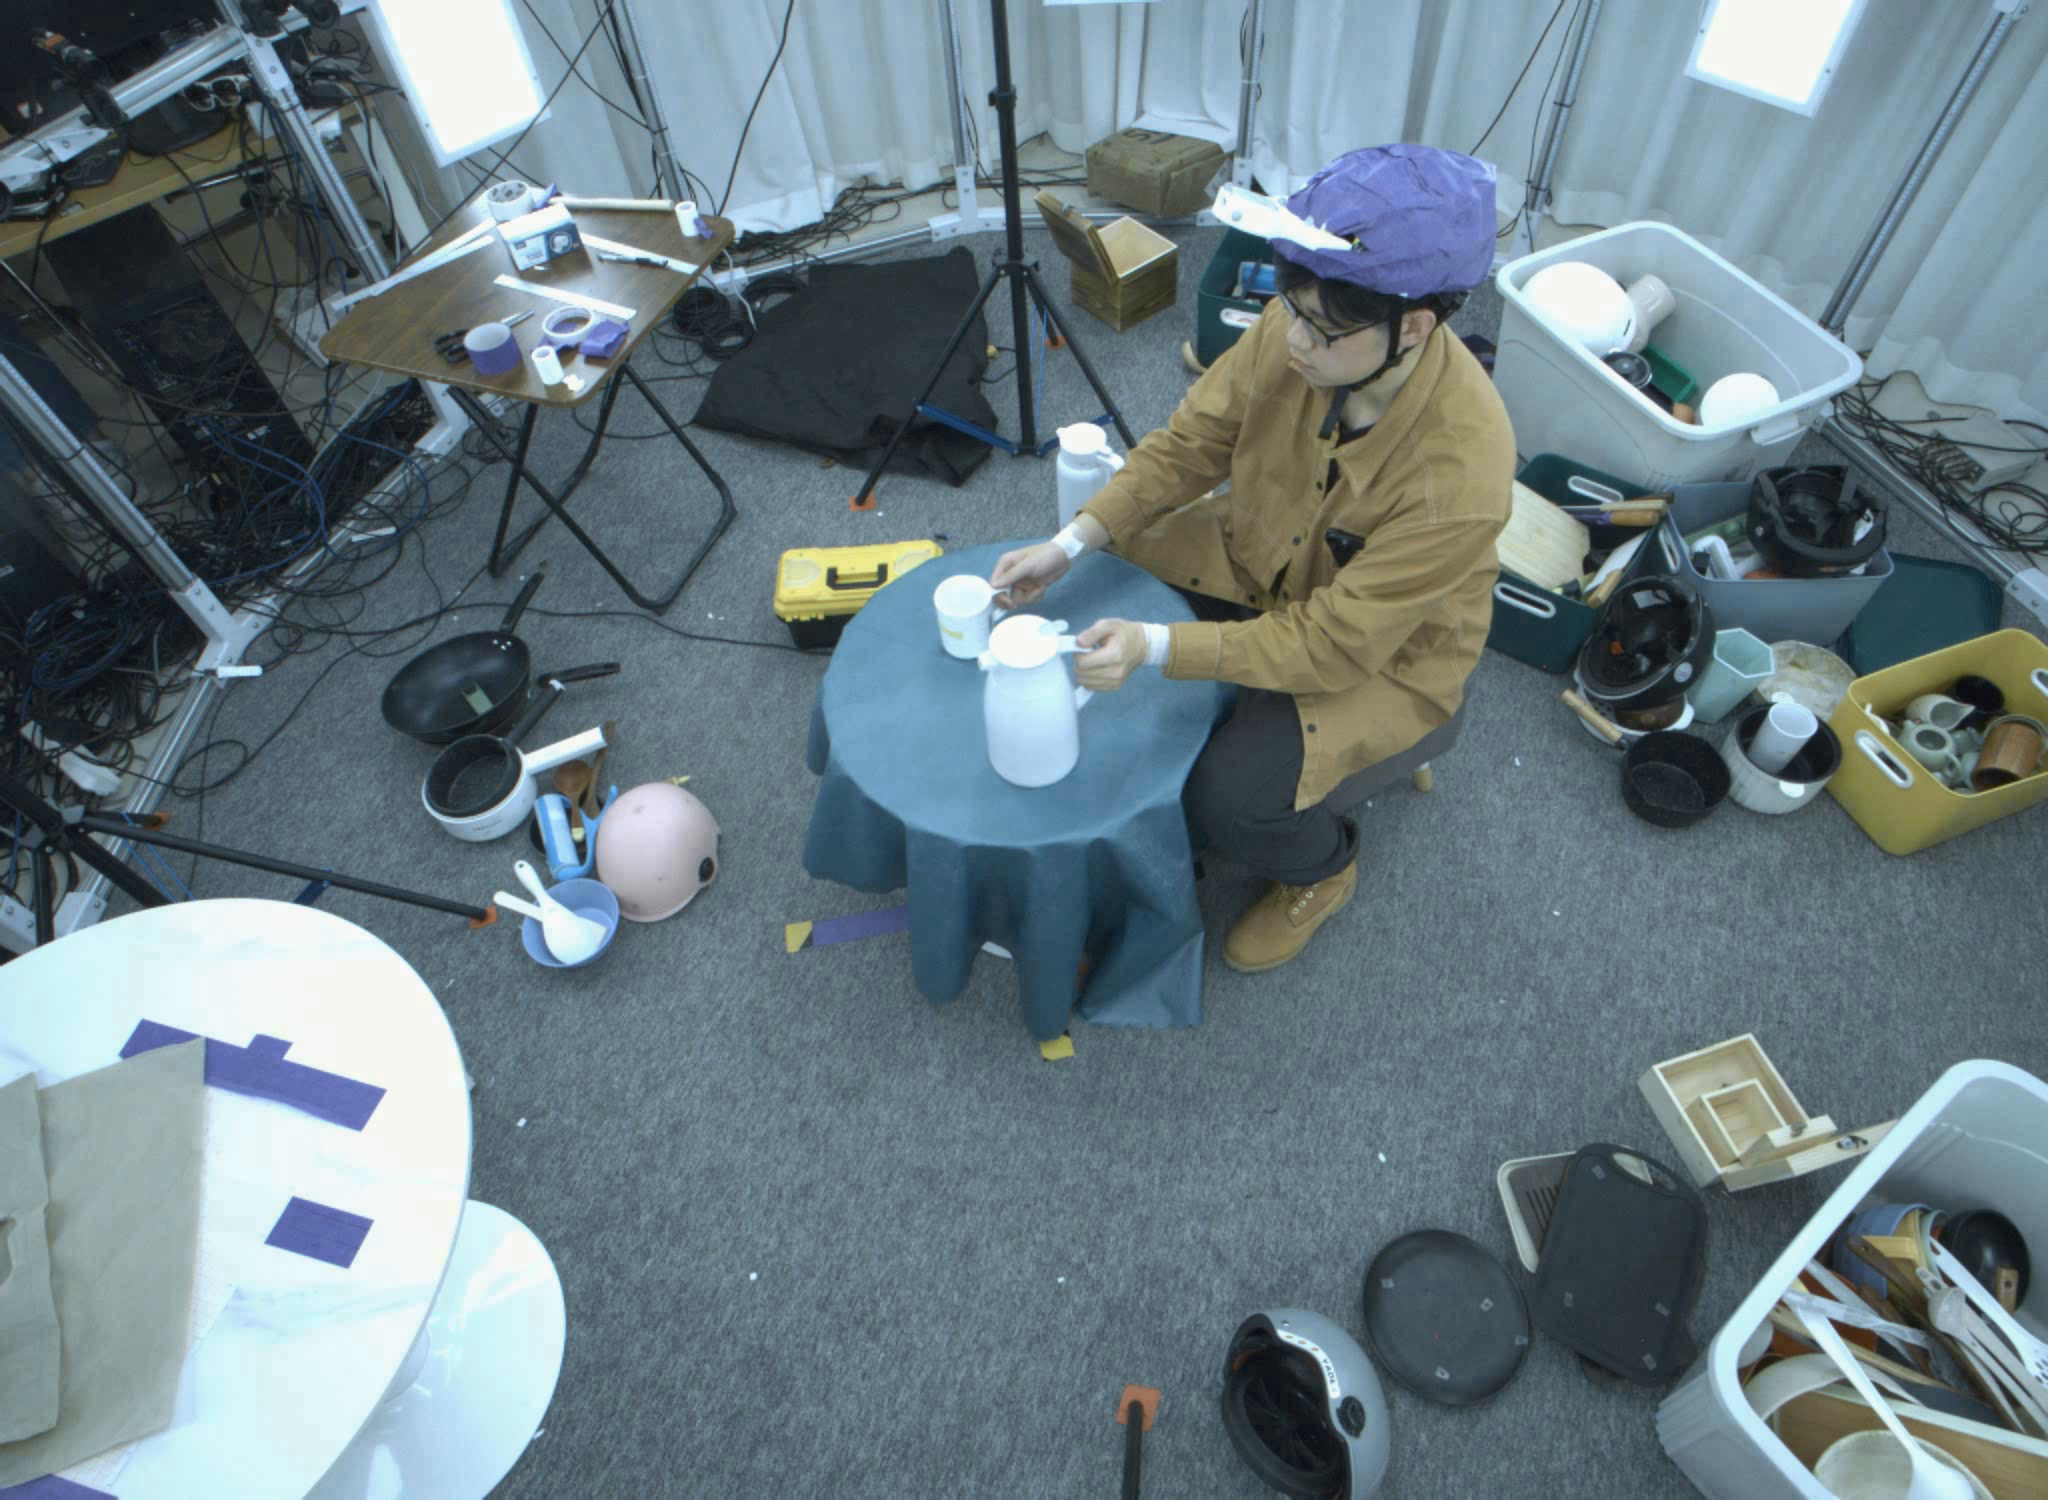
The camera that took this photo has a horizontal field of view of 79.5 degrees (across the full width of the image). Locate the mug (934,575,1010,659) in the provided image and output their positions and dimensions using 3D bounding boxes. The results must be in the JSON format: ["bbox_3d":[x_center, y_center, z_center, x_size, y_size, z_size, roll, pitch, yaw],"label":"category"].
[{"bbox_3d":[-0.076,-0.208,1.871,0.119,0.103,0.083,-28,58,-17],"label":"mug"}]

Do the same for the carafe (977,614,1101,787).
[{"bbox_3d":[0.024,-0.080,1.686,0.169,0.251,0.130,-18,54,-10],"label":"carafe"}]
